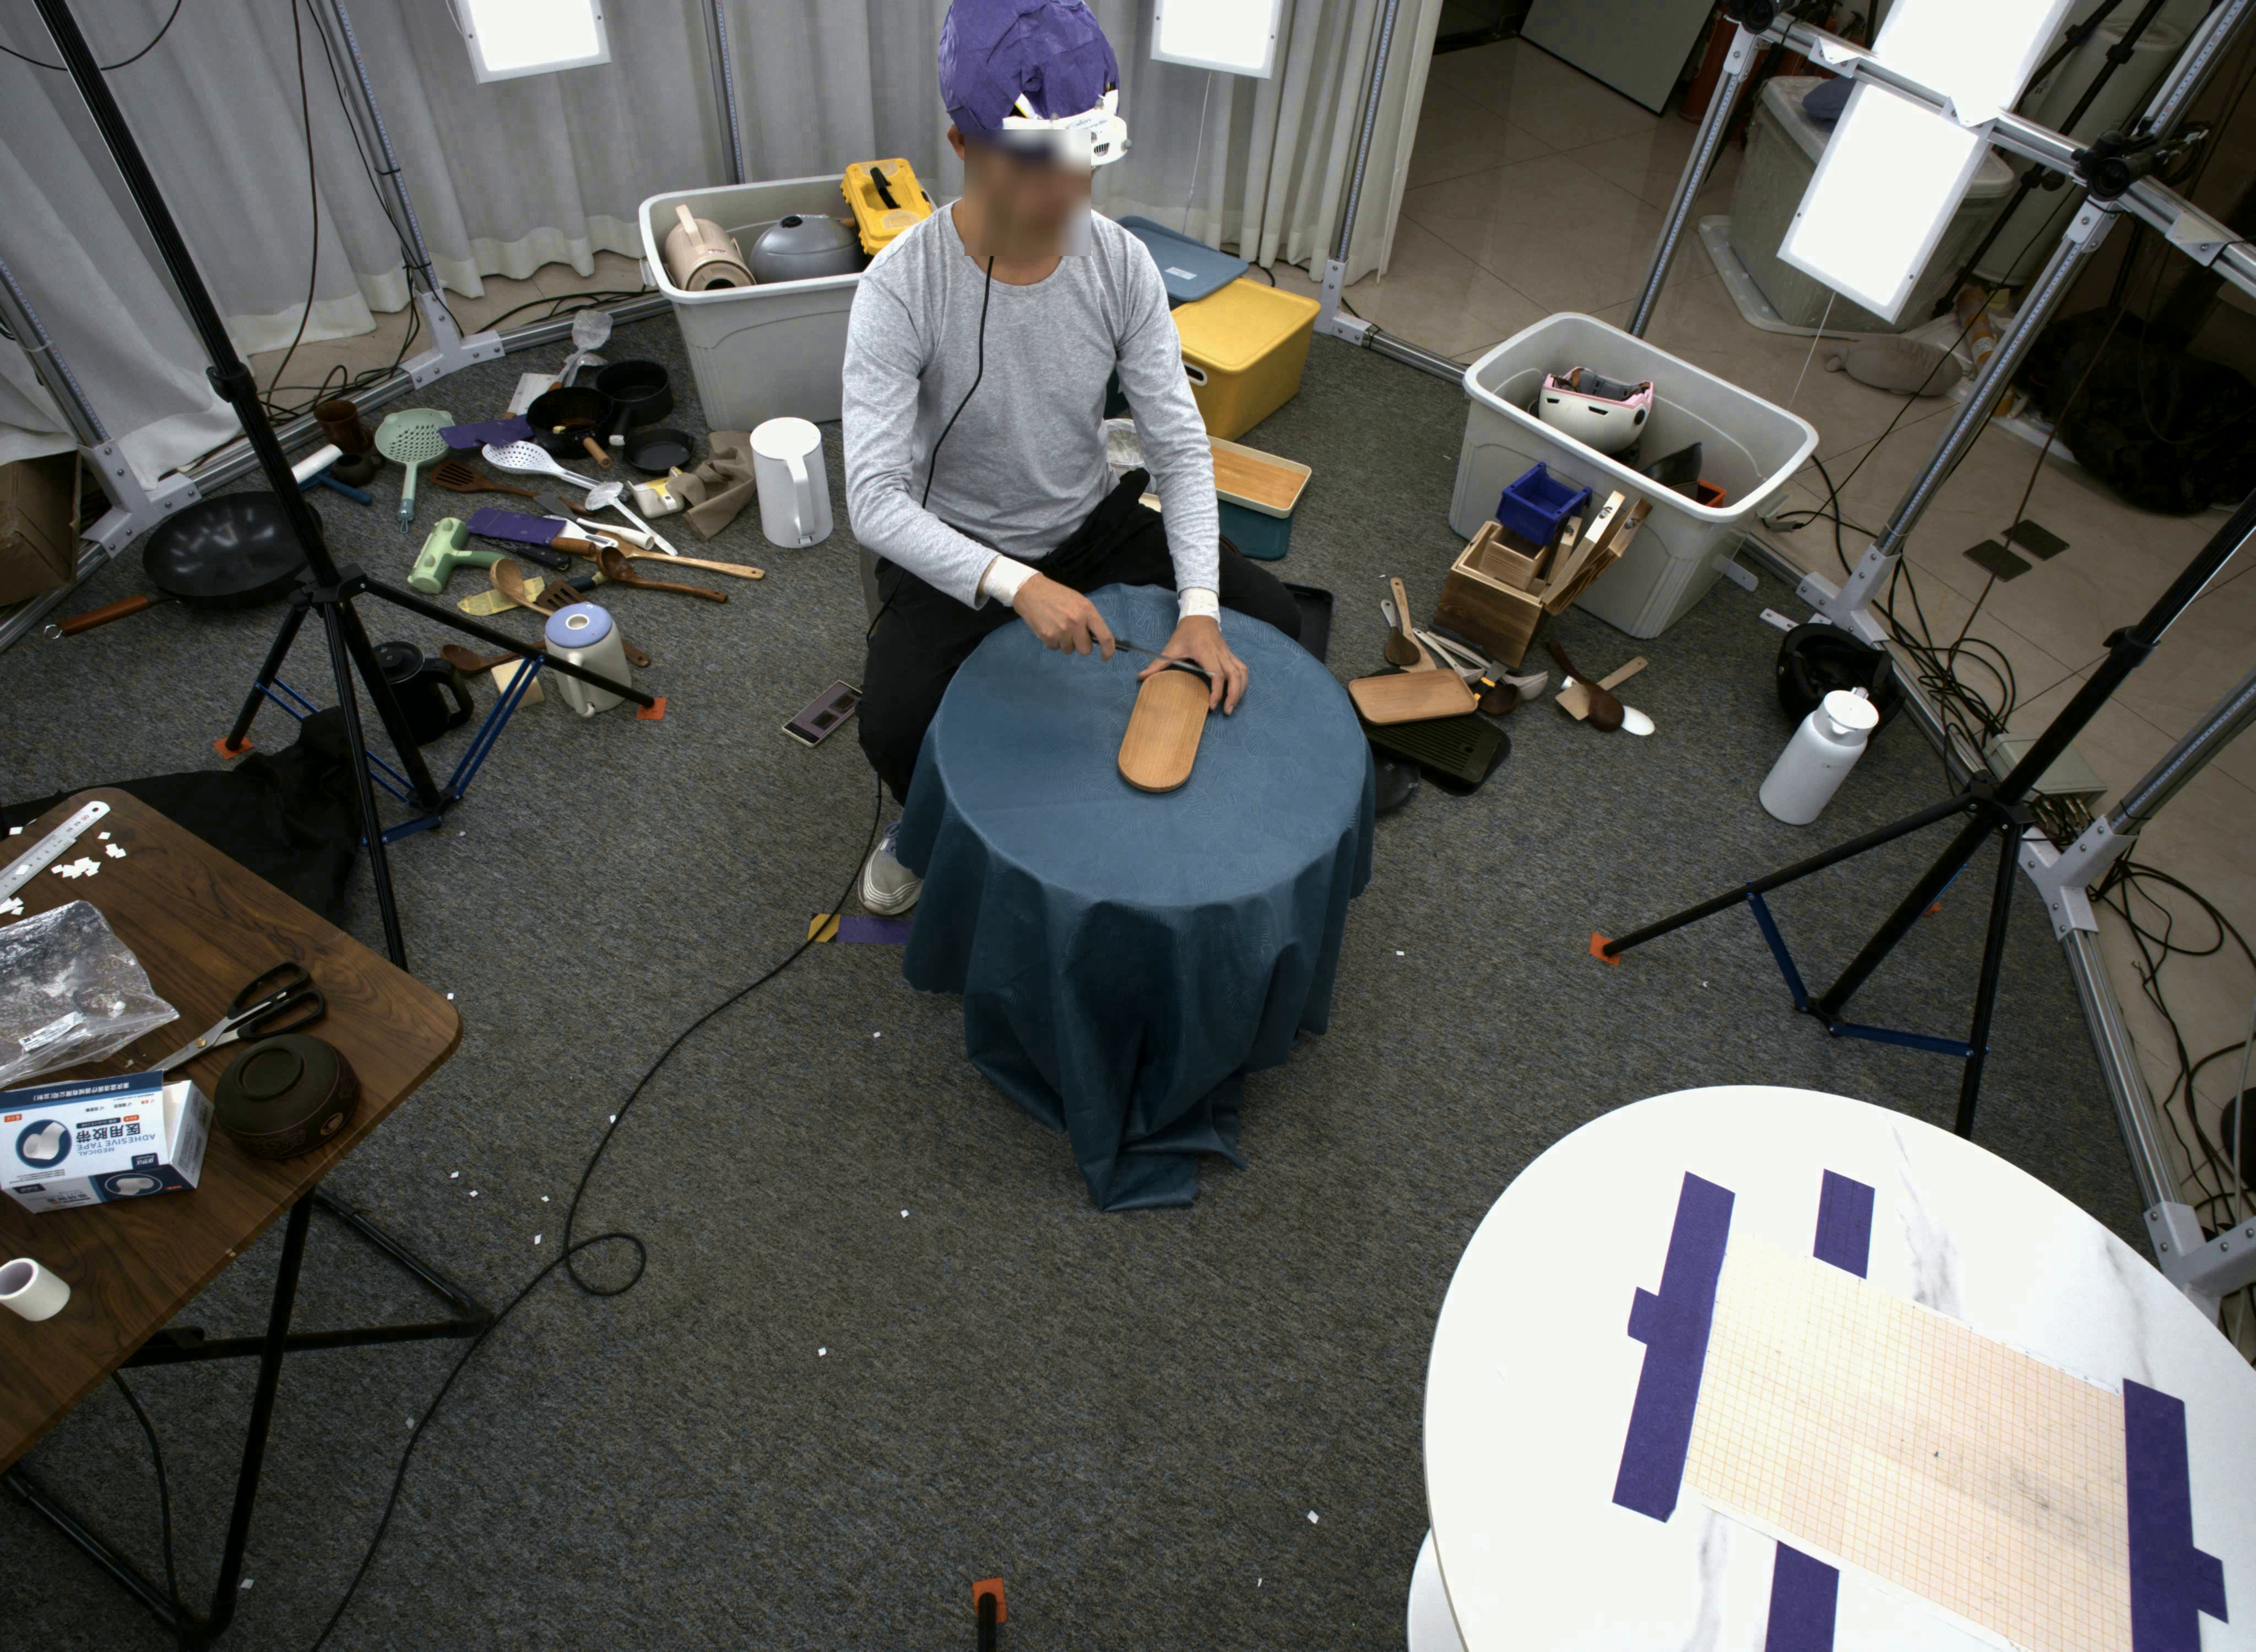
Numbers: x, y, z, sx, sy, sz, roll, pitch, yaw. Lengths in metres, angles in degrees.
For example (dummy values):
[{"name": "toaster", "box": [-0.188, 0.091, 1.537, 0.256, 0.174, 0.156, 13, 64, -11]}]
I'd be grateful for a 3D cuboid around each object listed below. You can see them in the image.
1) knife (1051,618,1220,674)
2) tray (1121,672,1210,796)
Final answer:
[{"name": "knife", "box": [0.011, -0.240, 1.735, 0.238, 0.016, 0.025, 17, 23, -2]}, {"name": "tray", "box": [0.053, -0.130, 1.774, 0.102, 0.020, 0.236, 9, 50, 7]}]
